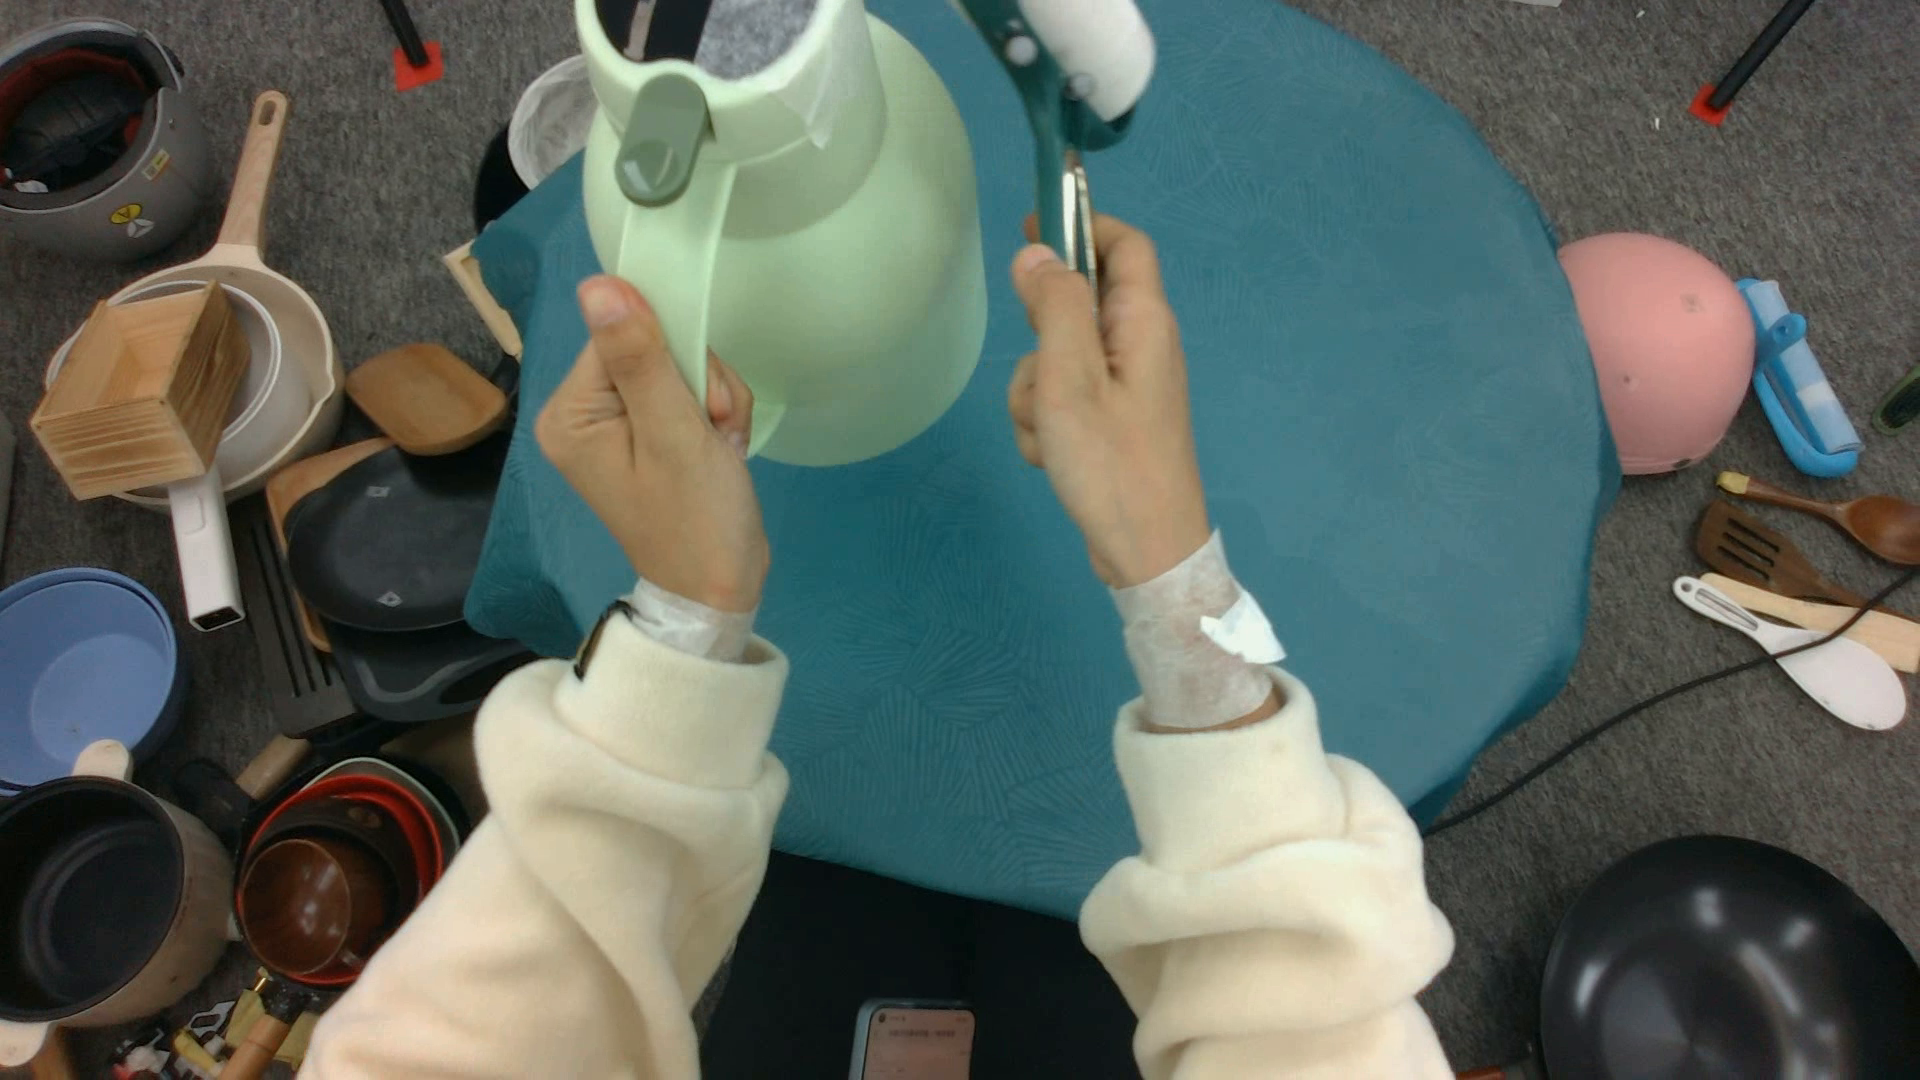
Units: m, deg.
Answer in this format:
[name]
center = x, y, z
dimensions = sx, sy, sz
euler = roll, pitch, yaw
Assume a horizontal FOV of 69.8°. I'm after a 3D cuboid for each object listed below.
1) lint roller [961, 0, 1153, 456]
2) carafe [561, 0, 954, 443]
[lint roller]
center = 0.040, -0.119, 0.449
dimensions = 0.048, 0.134, 0.180
euler = -14, 79, 21
[carafe]
center = -0.078, -0.121, 0.506
dimensions = 0.144, 0.256, 0.187
euler = 13, 82, 2
